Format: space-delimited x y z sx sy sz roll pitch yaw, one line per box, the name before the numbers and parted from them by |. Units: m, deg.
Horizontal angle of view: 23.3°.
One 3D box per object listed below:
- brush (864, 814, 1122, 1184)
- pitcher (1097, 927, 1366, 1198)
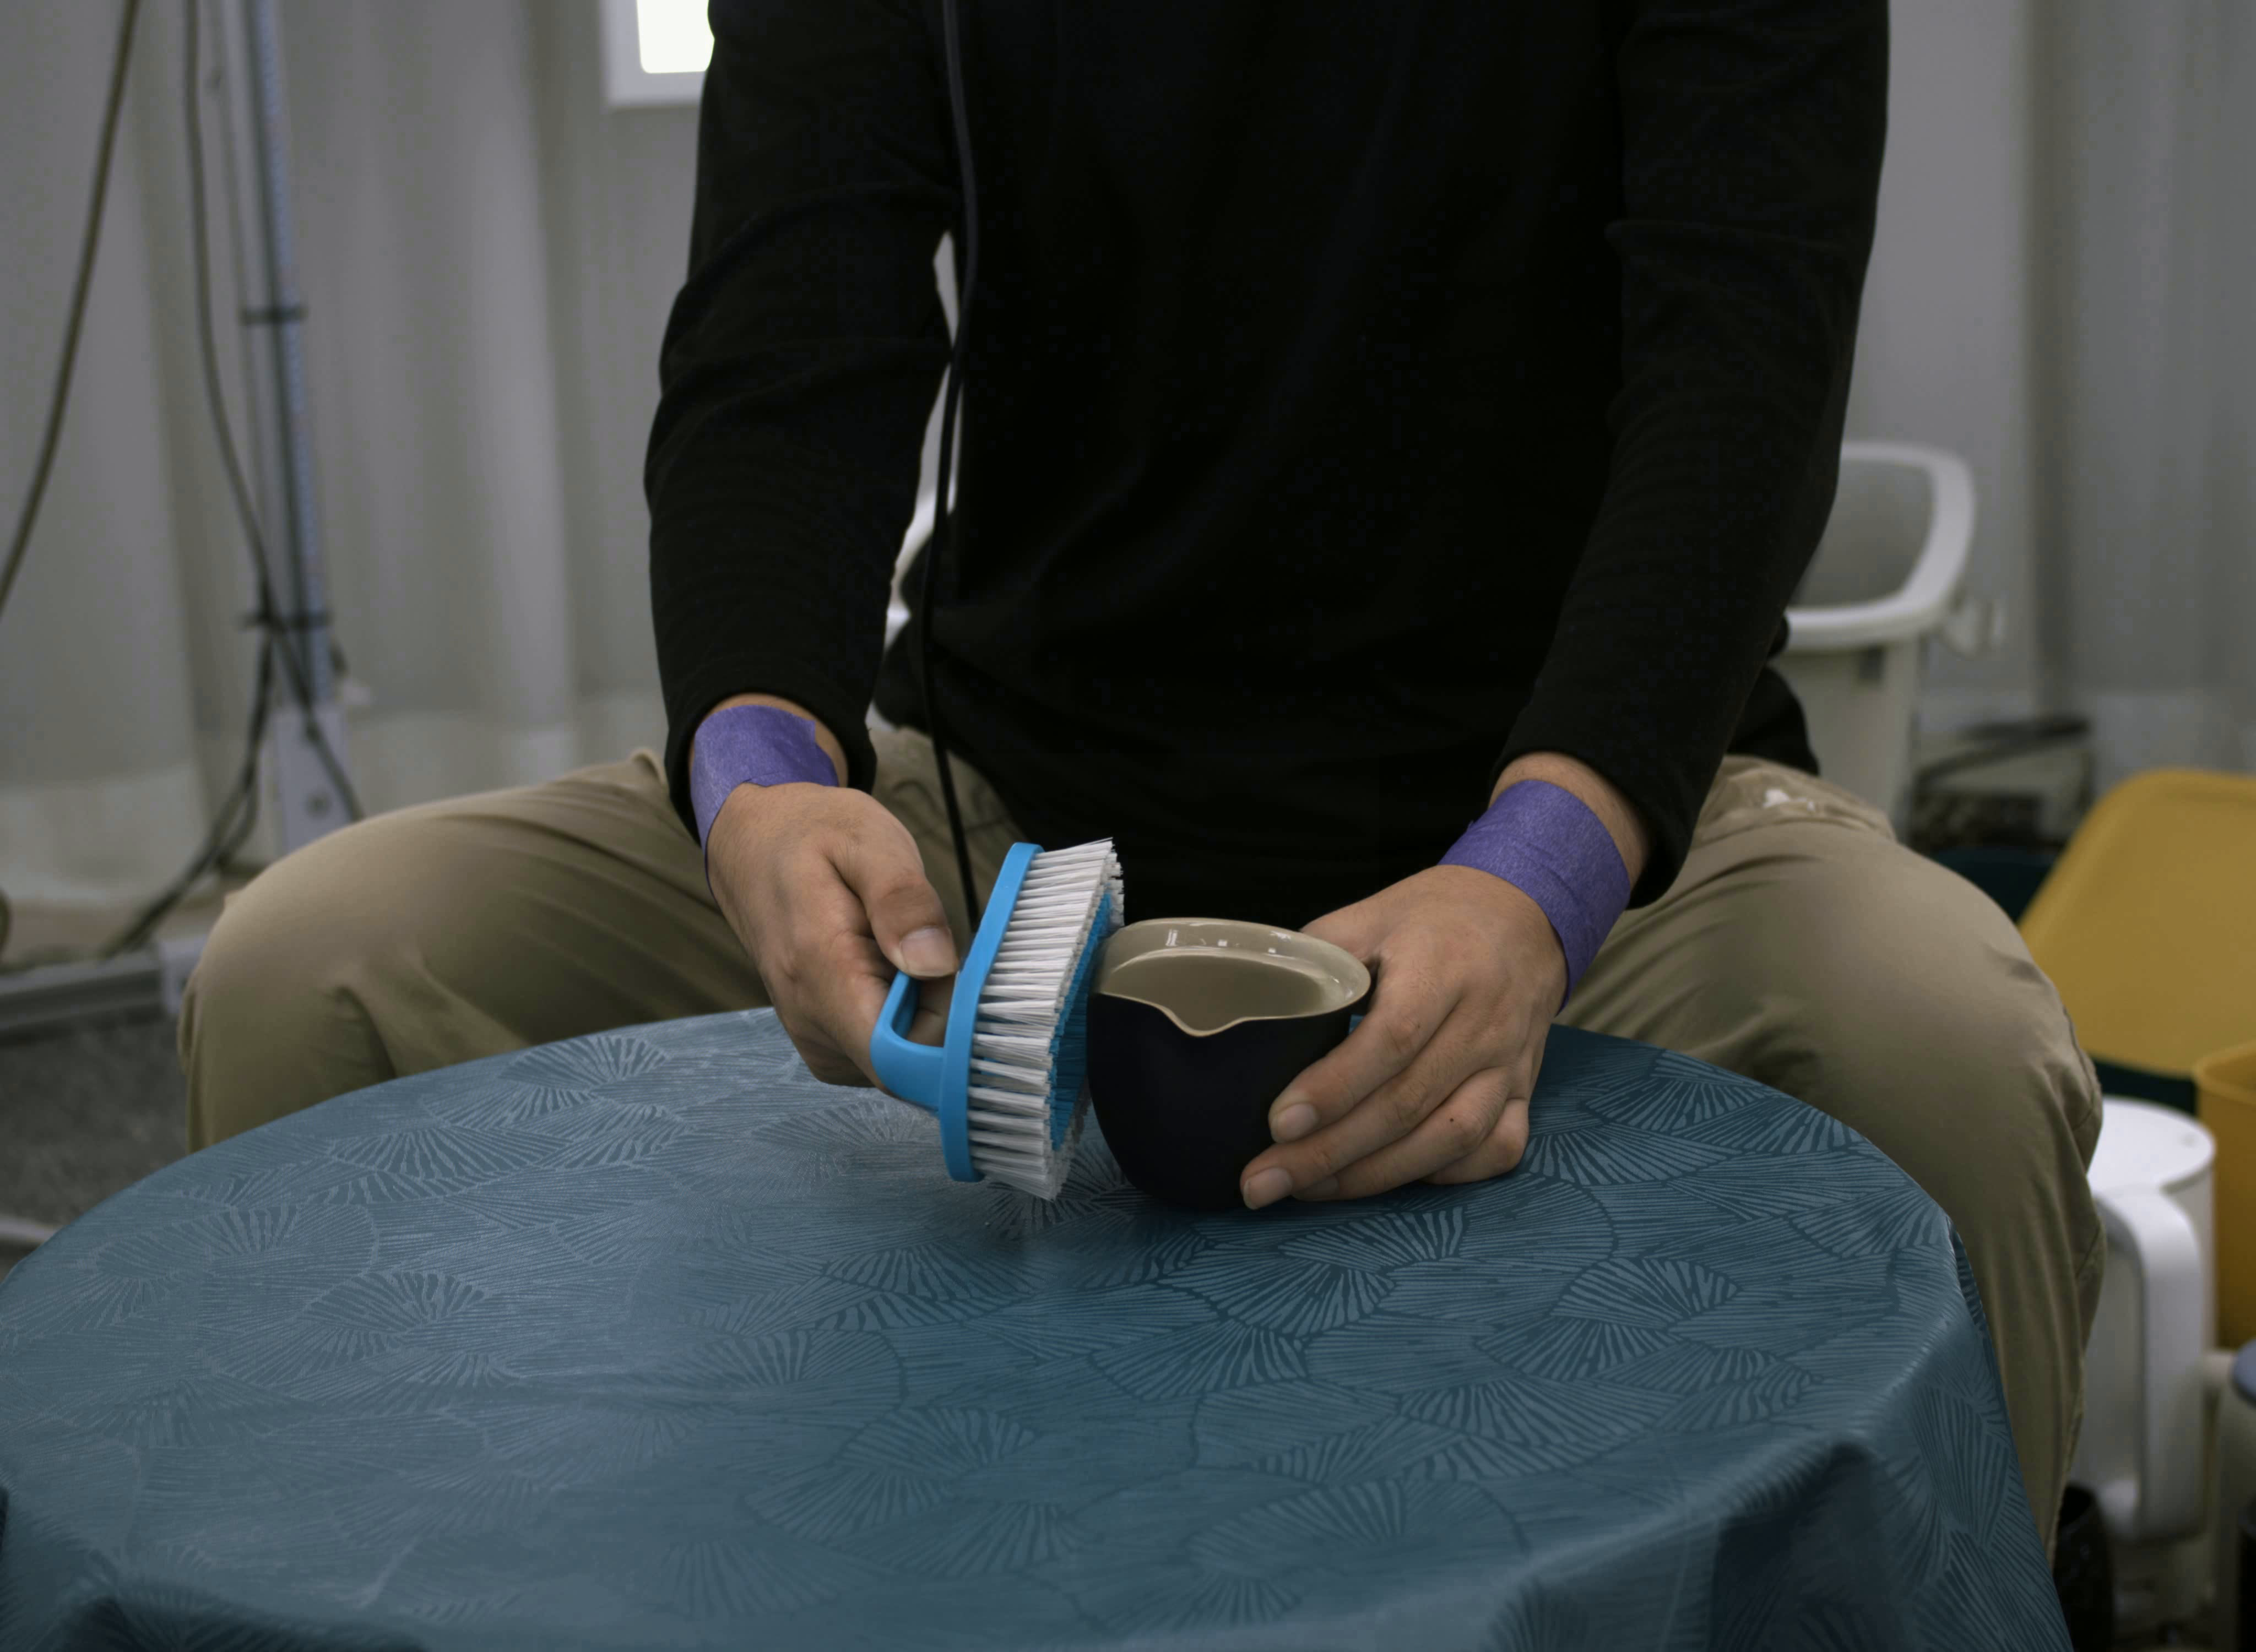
brush | -0.045 0.053 1.703 0.064 0.083 0.143 2 31 12
pitcher | 0.029 0.076 1.702 0.083 0.071 0.096 9 19 13
